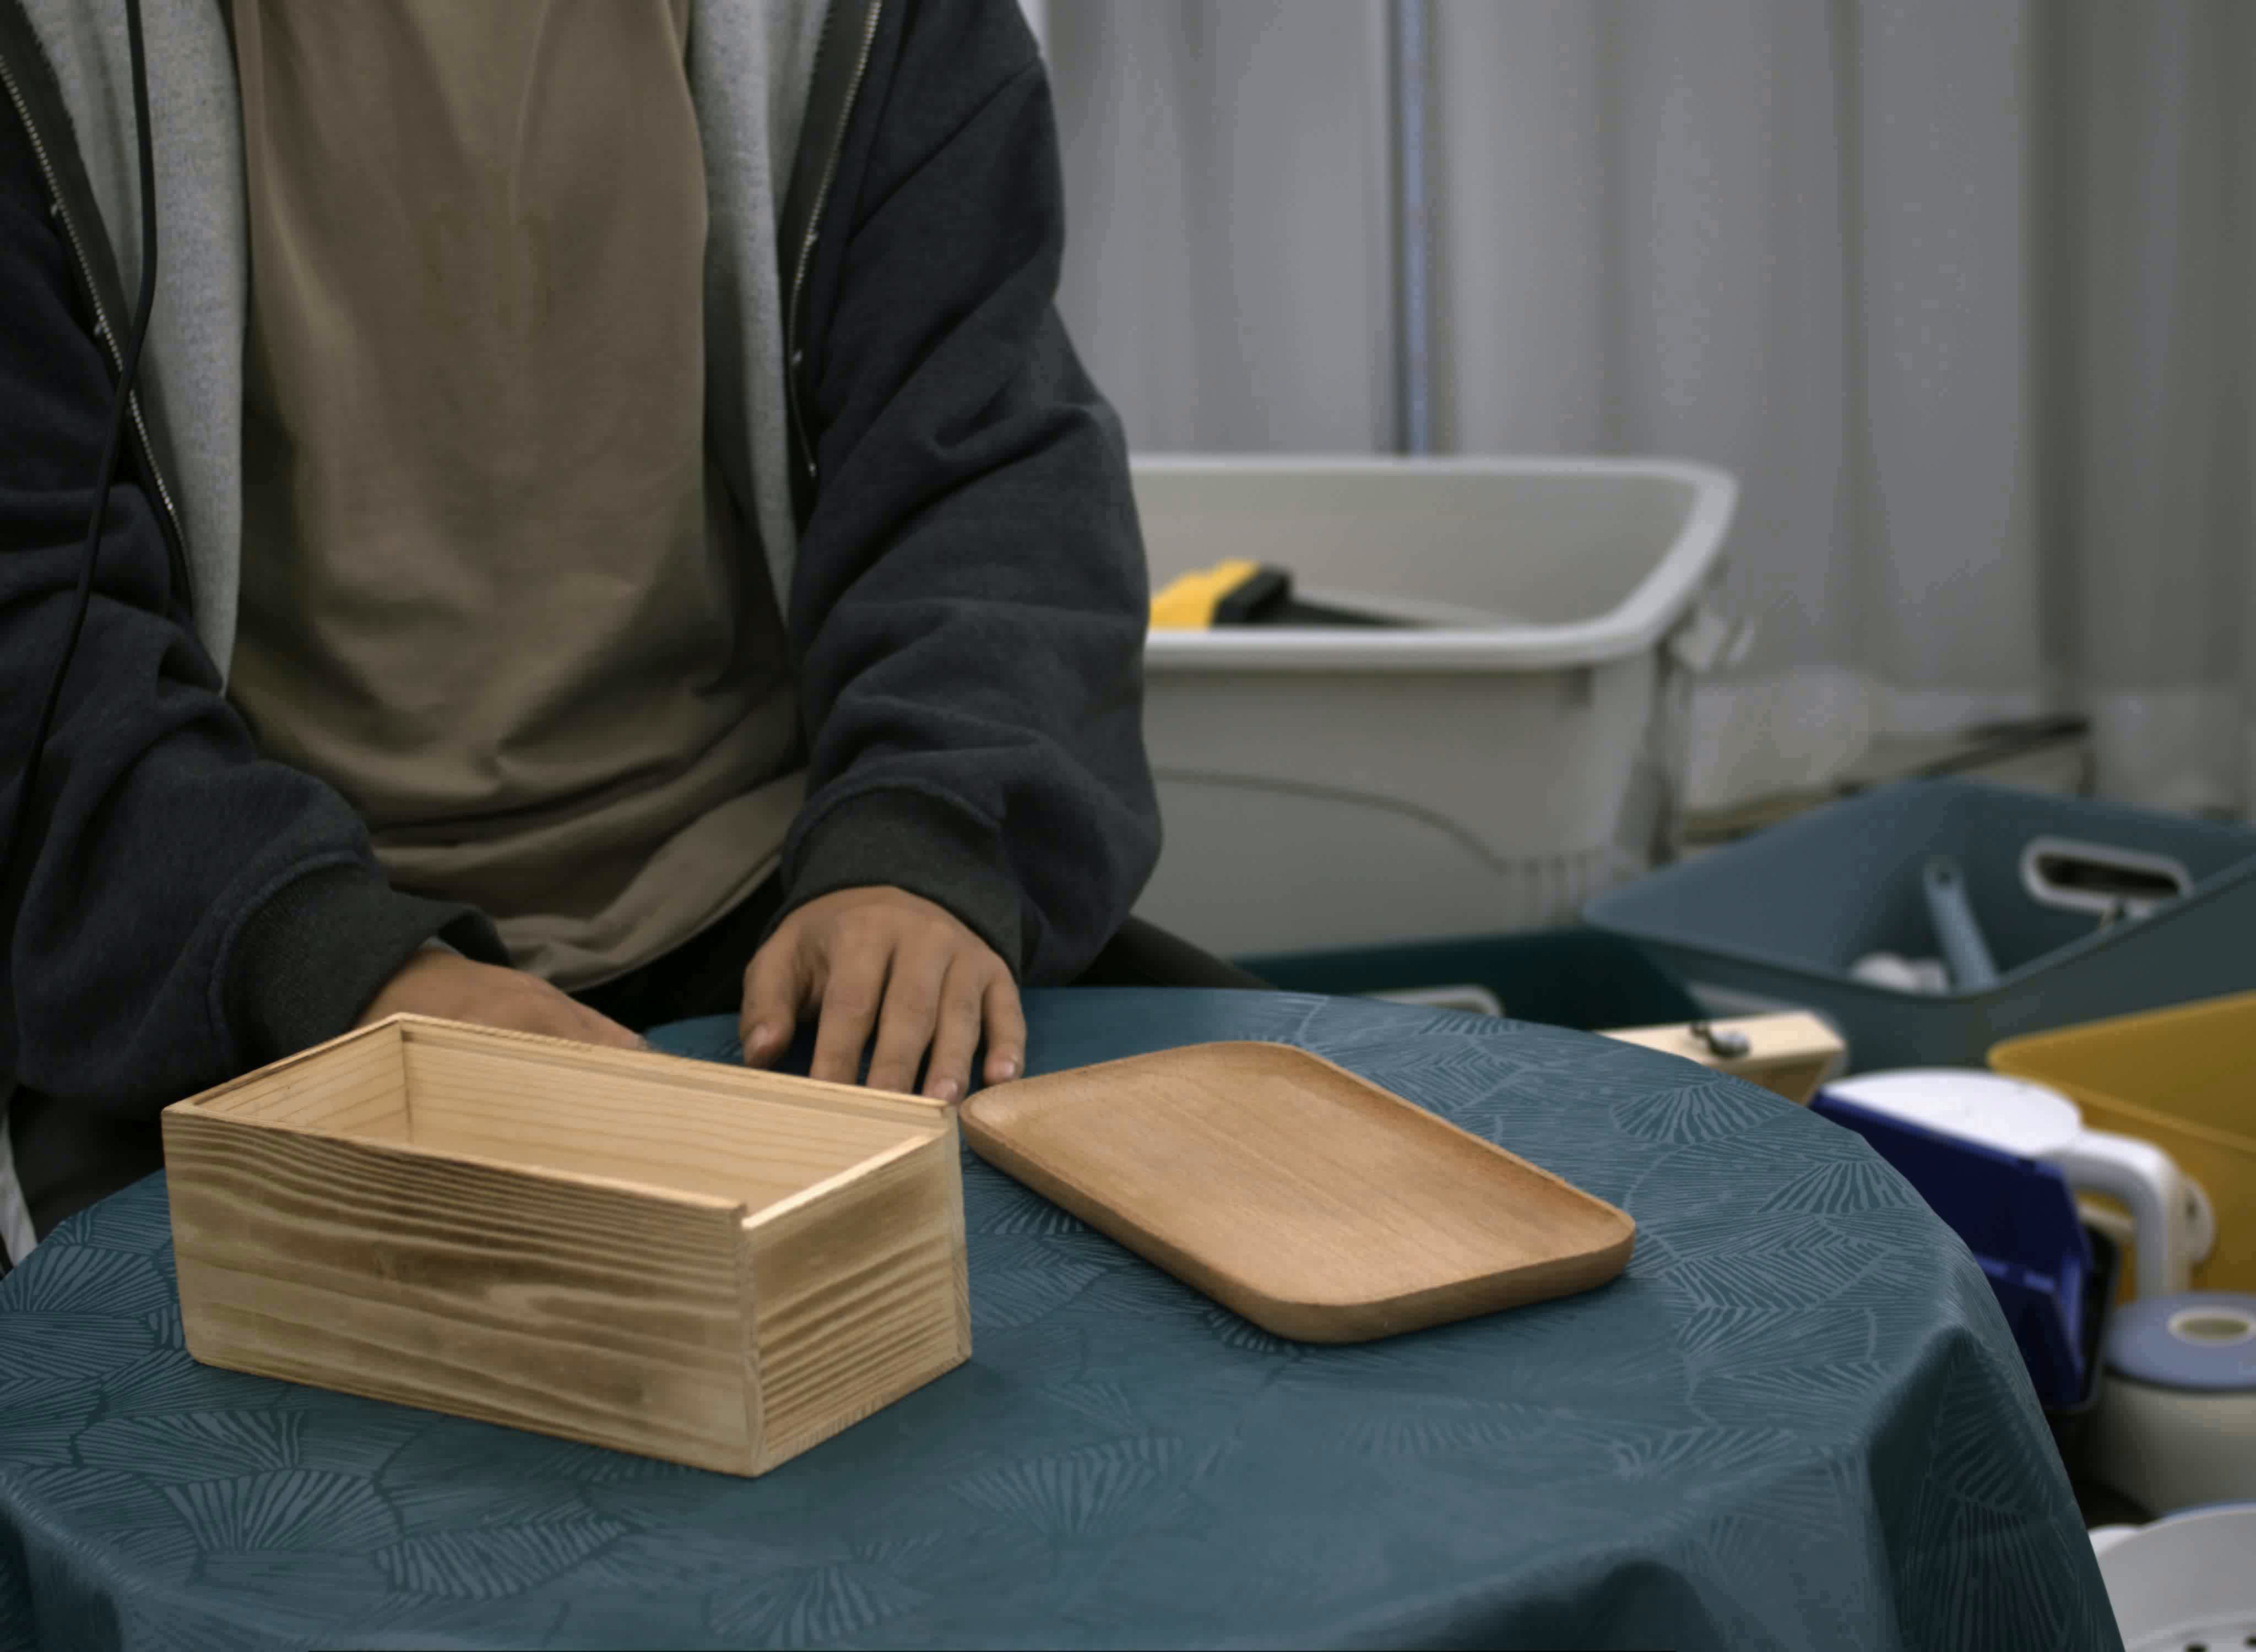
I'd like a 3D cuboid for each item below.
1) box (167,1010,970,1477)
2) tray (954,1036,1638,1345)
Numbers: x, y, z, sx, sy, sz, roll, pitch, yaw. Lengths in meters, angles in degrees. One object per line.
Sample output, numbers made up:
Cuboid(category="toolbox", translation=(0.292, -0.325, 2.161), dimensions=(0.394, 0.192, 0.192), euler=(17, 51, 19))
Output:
Cuboid(category="box", translation=(-0.163, 0.118, 1.584), dimensions=(0.212, 0.080, 0.107), euler=(7, 17, 34))
Cuboid(category="tray", translation=(0.048, 0.110, 1.690), dimensions=(0.130, 0.023, 0.252), euler=(-7, 15, -25))
